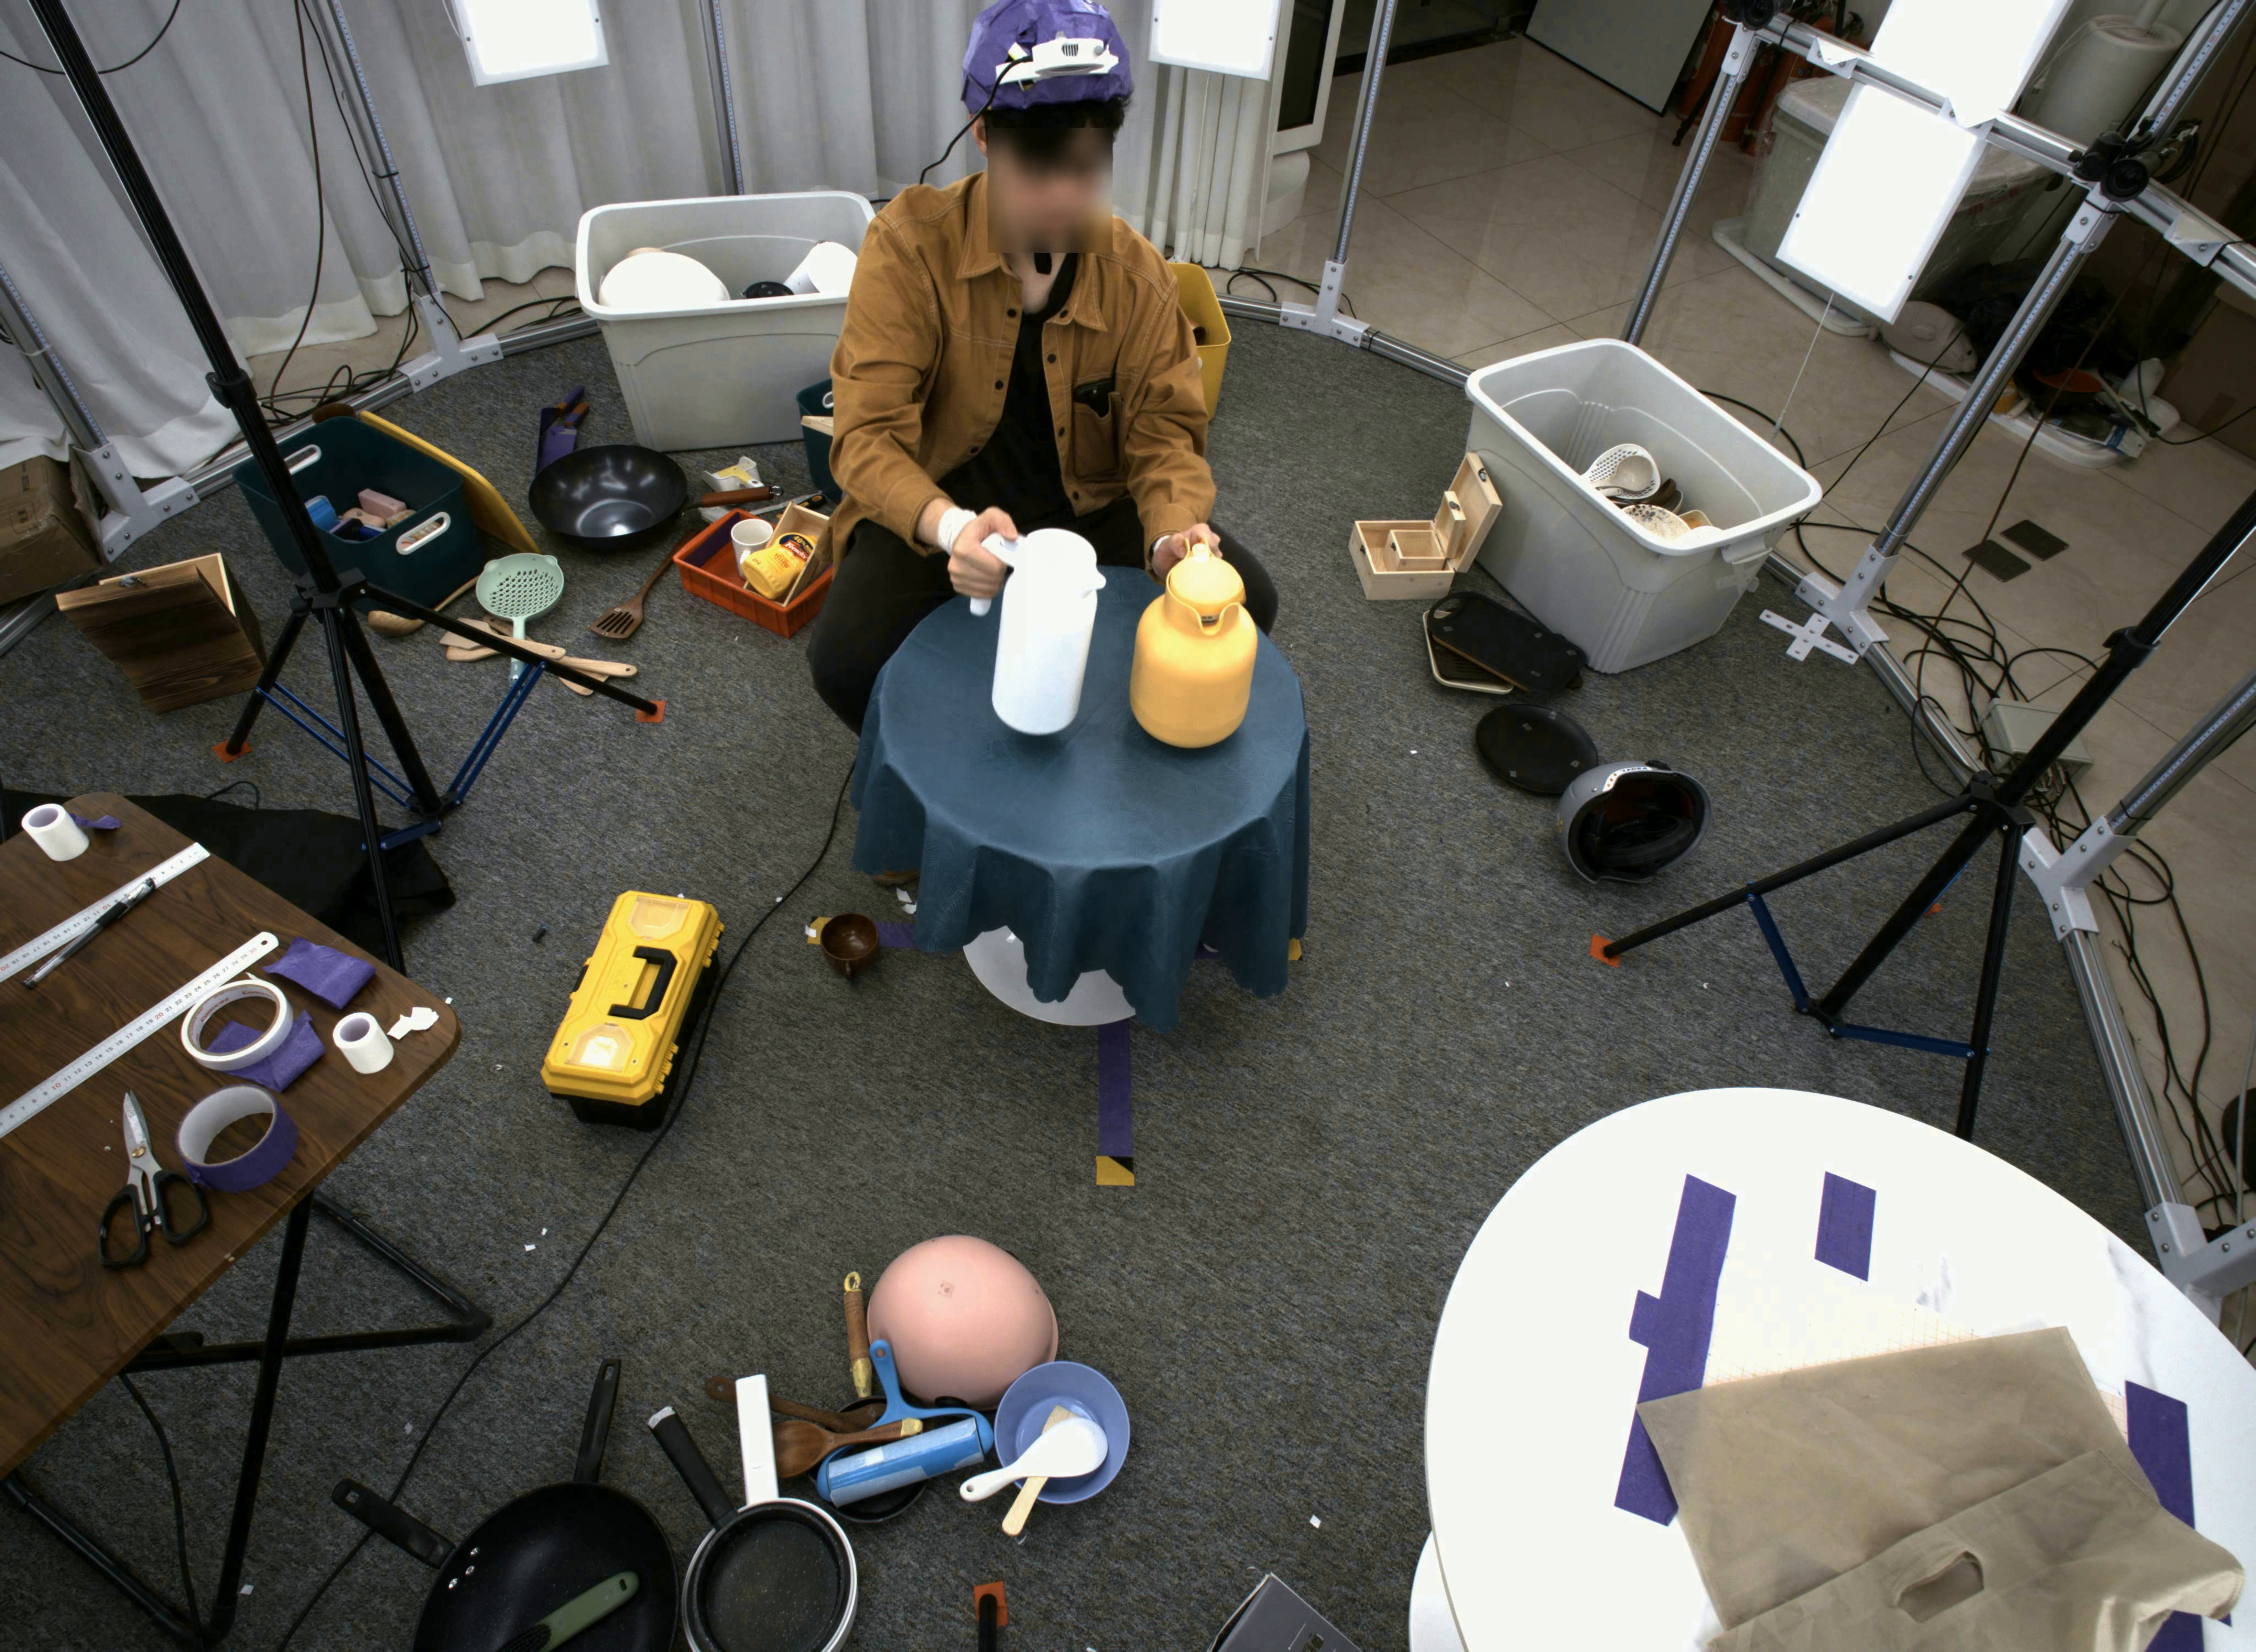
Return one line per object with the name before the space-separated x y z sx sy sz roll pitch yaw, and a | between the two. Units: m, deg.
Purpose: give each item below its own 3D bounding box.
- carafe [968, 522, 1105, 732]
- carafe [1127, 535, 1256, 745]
carafe | -0.123 -0.253 1.633 0.174 0.263 0.126 26 54 10
carafe | 0.087 -0.253 1.705 0.163 0.254 0.207 2 53 -6
